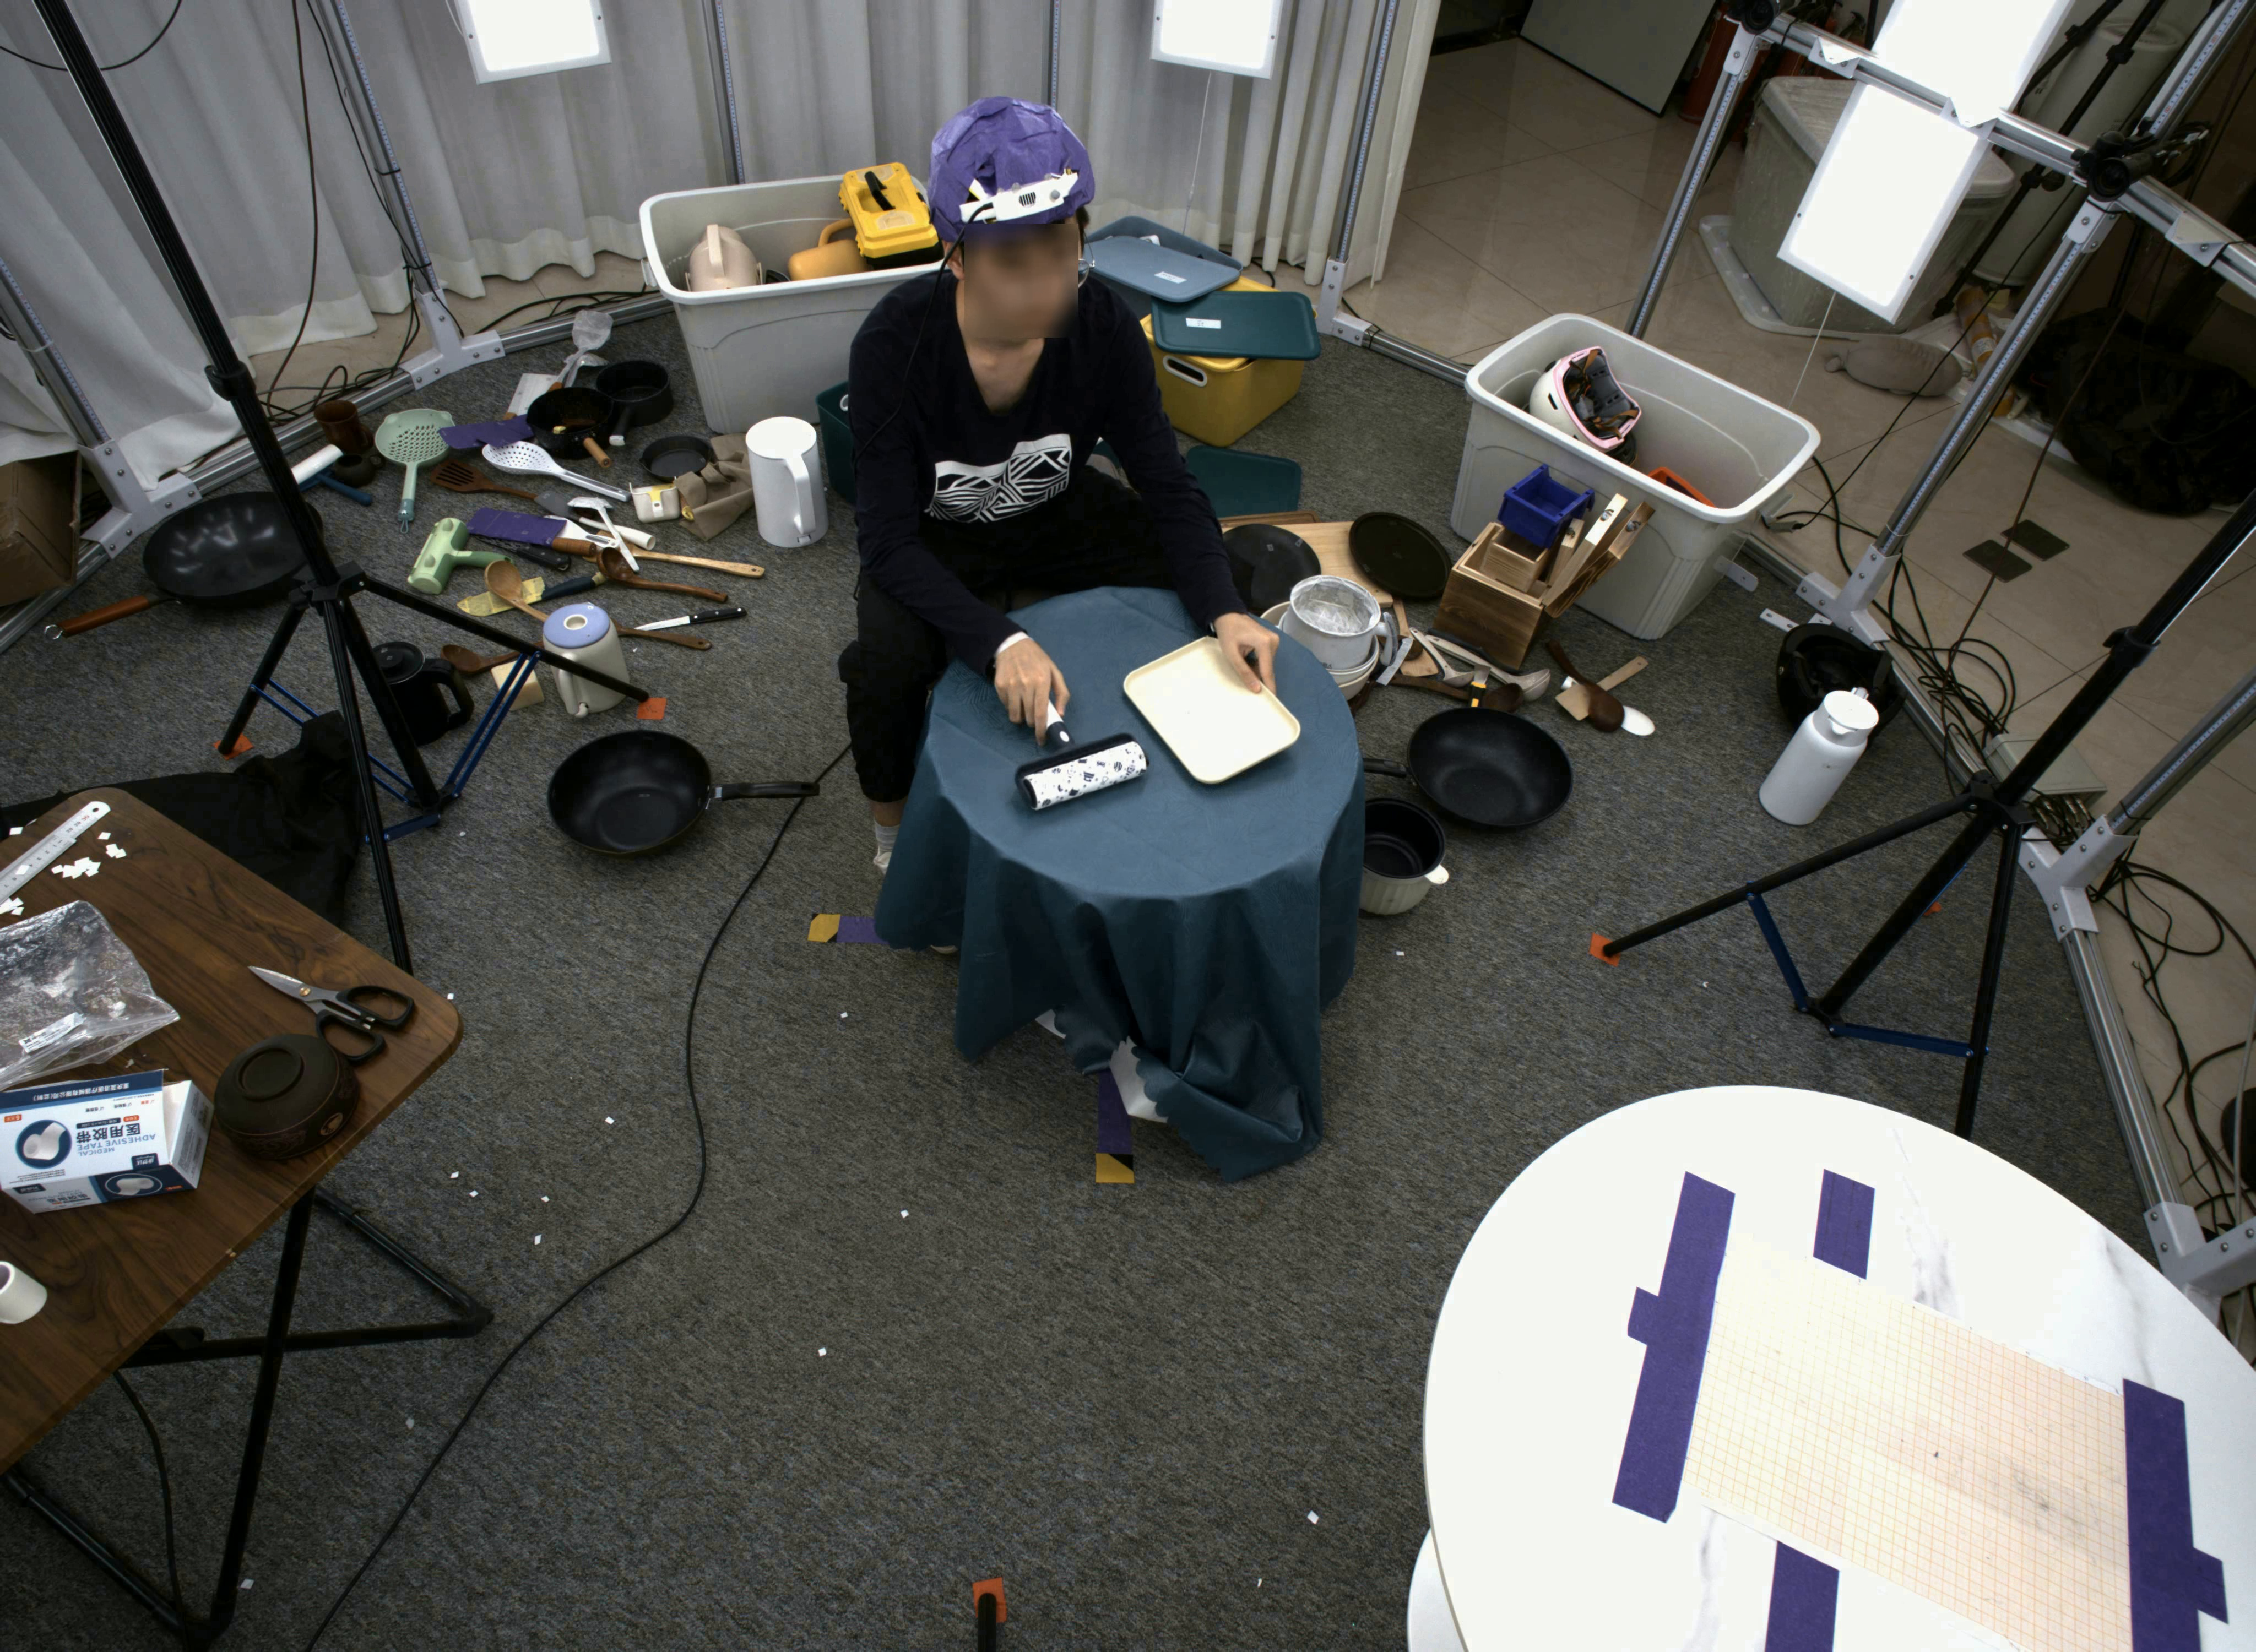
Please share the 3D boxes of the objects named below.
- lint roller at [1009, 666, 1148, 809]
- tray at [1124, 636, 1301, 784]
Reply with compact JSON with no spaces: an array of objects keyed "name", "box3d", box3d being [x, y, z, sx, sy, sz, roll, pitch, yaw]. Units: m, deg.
[{"name":"lint roller","box3d":[-0.106,-0.140,1.746,0.177,0.049,0.252,-21,54,-19]},{"name":"tray","box3d":[0.115,-0.164,1.789,0.172,0.017,0.245,-27,54,-13]}]
